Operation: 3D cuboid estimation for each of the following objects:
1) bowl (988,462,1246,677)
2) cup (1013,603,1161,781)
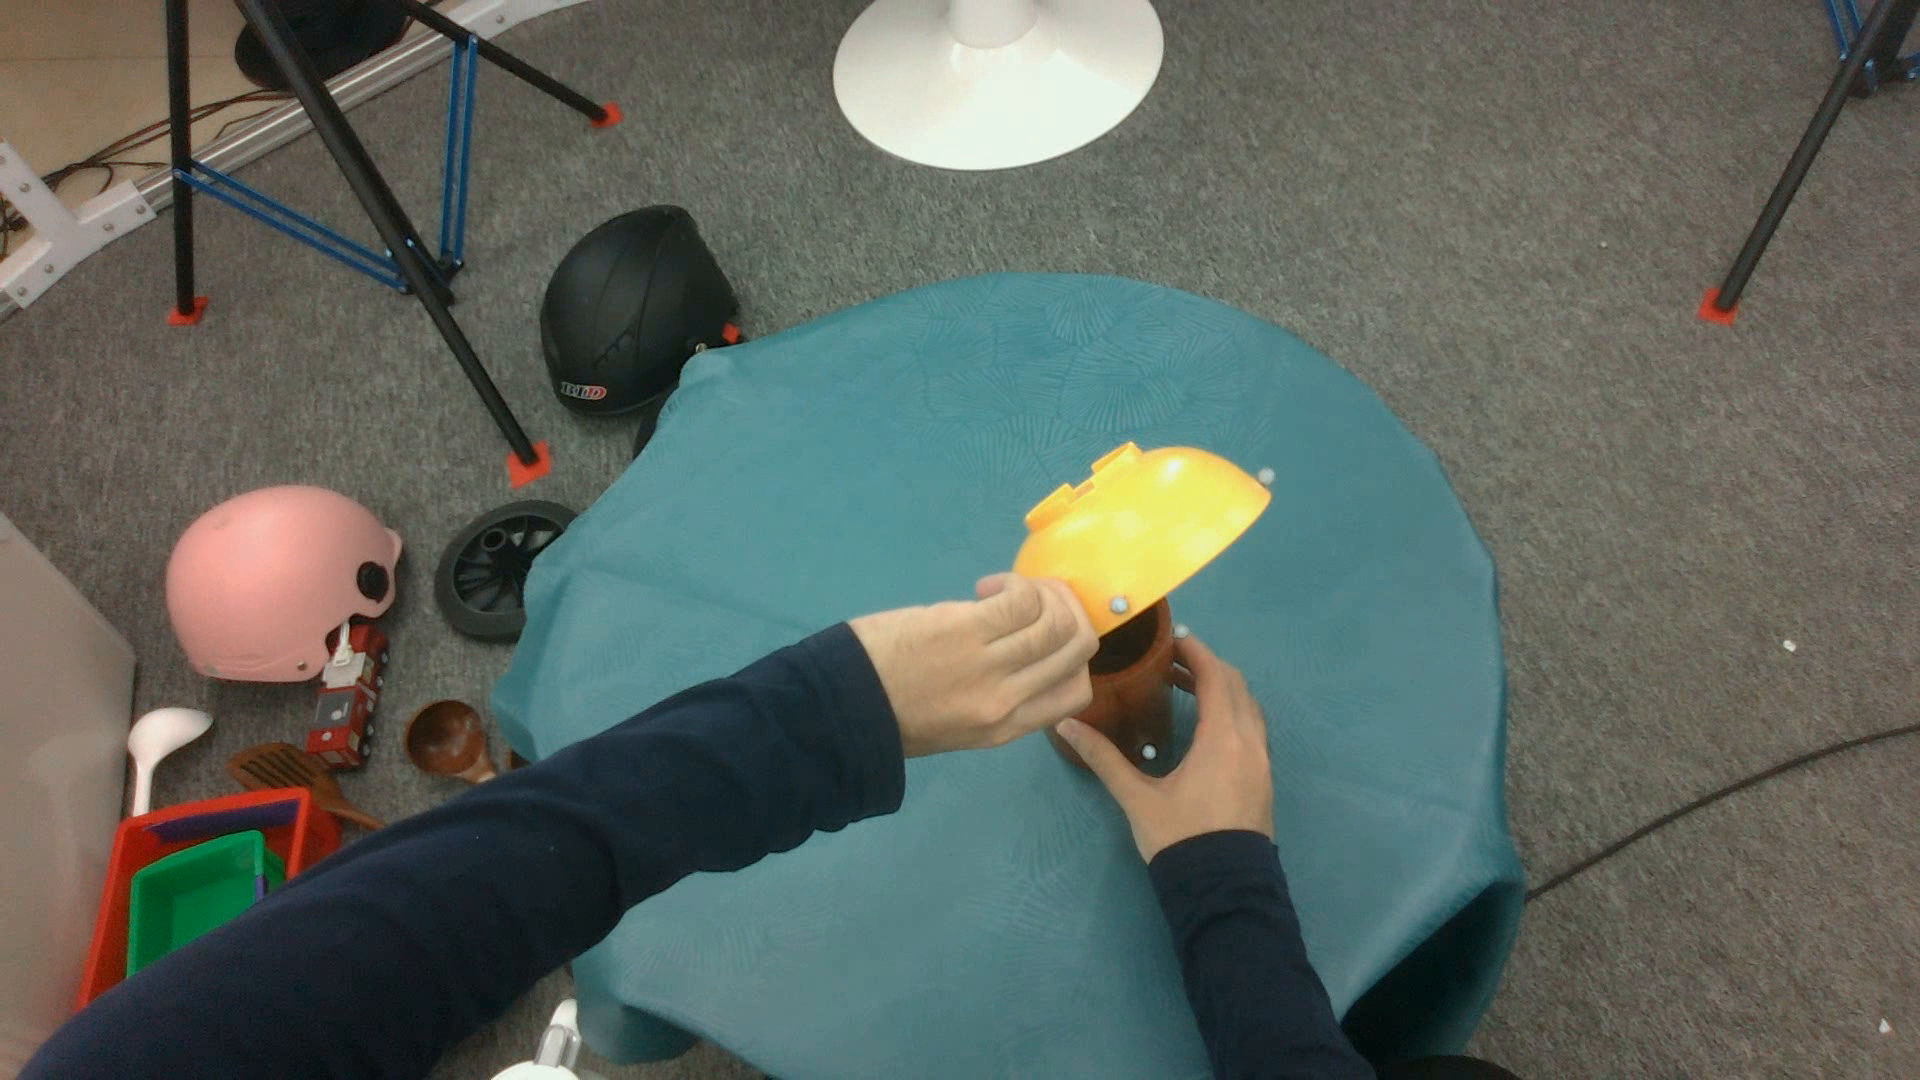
[{"bbox_3d":[0.066,0.003,0.685,0.145,0.145,0.060,-35,93,-15],"label":"bowl"},{"bbox_3d":[0.073,0.078,0.790,0.087,0.118,0.088,-6,55,9],"label":"cup"}]
